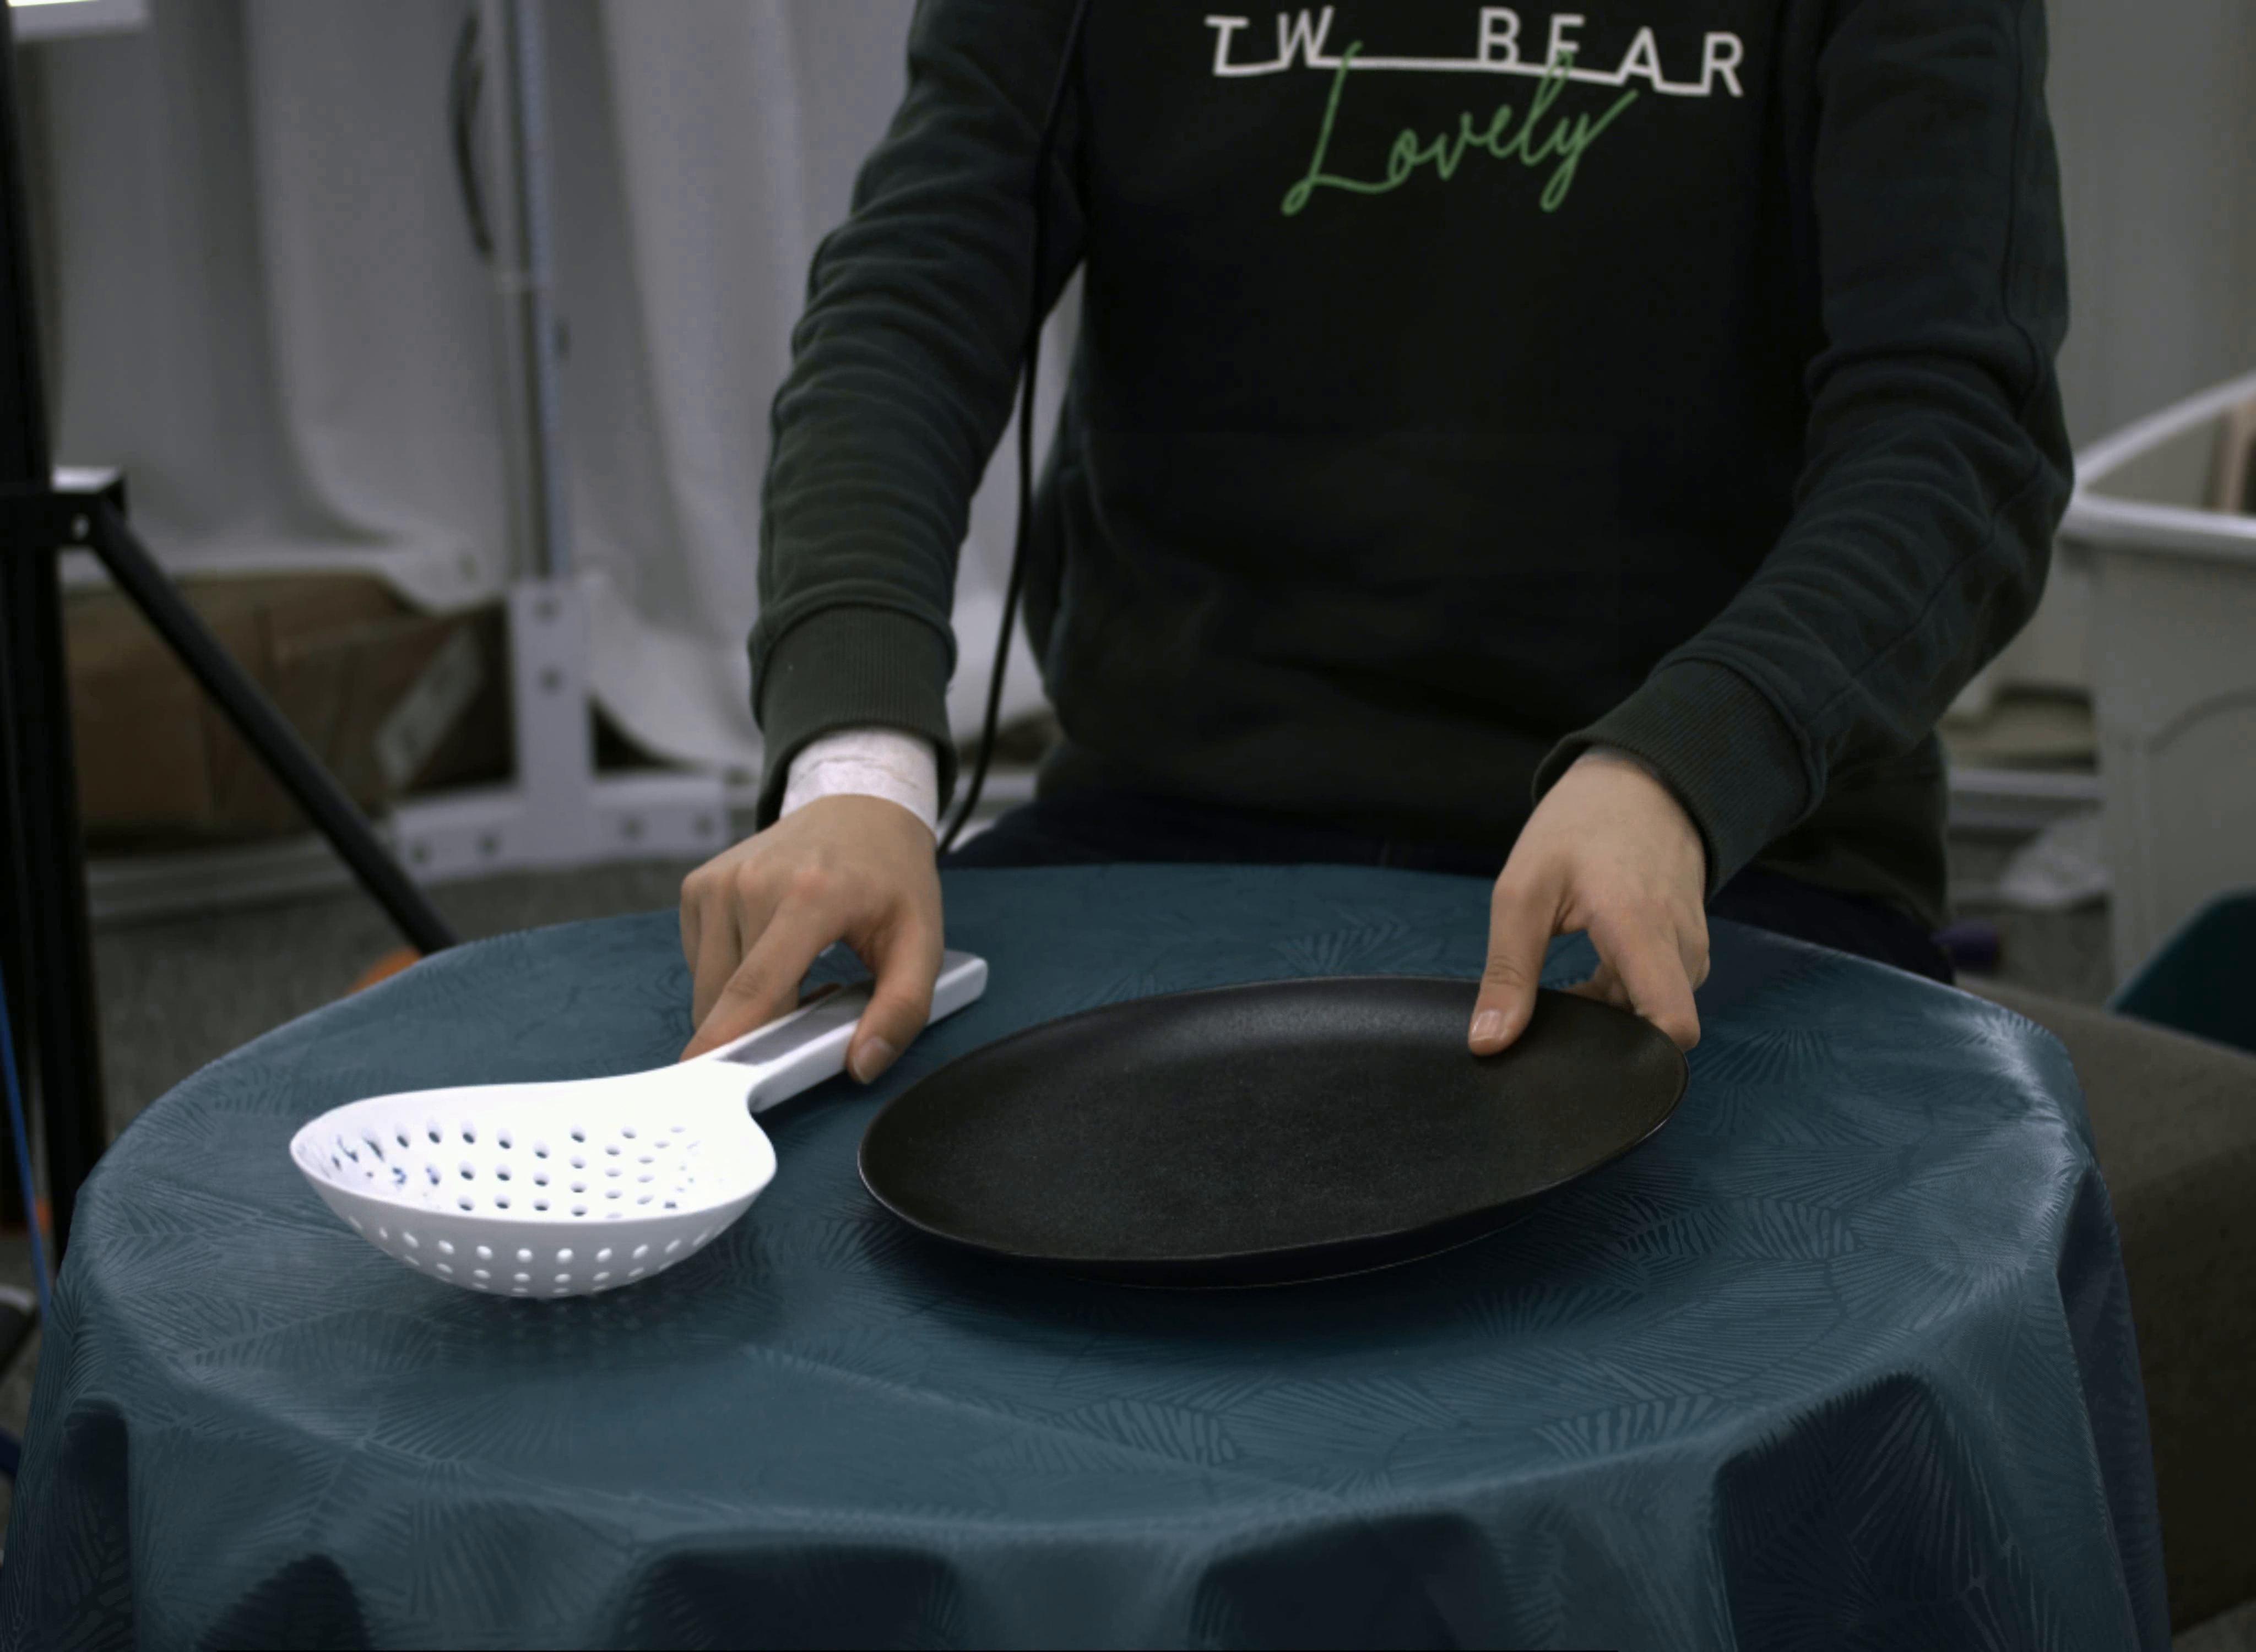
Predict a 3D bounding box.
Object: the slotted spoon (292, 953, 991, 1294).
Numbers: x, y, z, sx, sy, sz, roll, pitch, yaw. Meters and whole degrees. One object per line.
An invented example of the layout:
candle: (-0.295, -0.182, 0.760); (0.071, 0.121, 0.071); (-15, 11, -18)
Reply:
slotted spoon: (-0.125, 0.079, 1.596); (0.138, 0.046, 0.344); (11, 19, 22)

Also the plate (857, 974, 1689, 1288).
plate: (0.043, 0.091, 1.541); (0.243, 0.023, 0.245); (-8, 16, 1)
